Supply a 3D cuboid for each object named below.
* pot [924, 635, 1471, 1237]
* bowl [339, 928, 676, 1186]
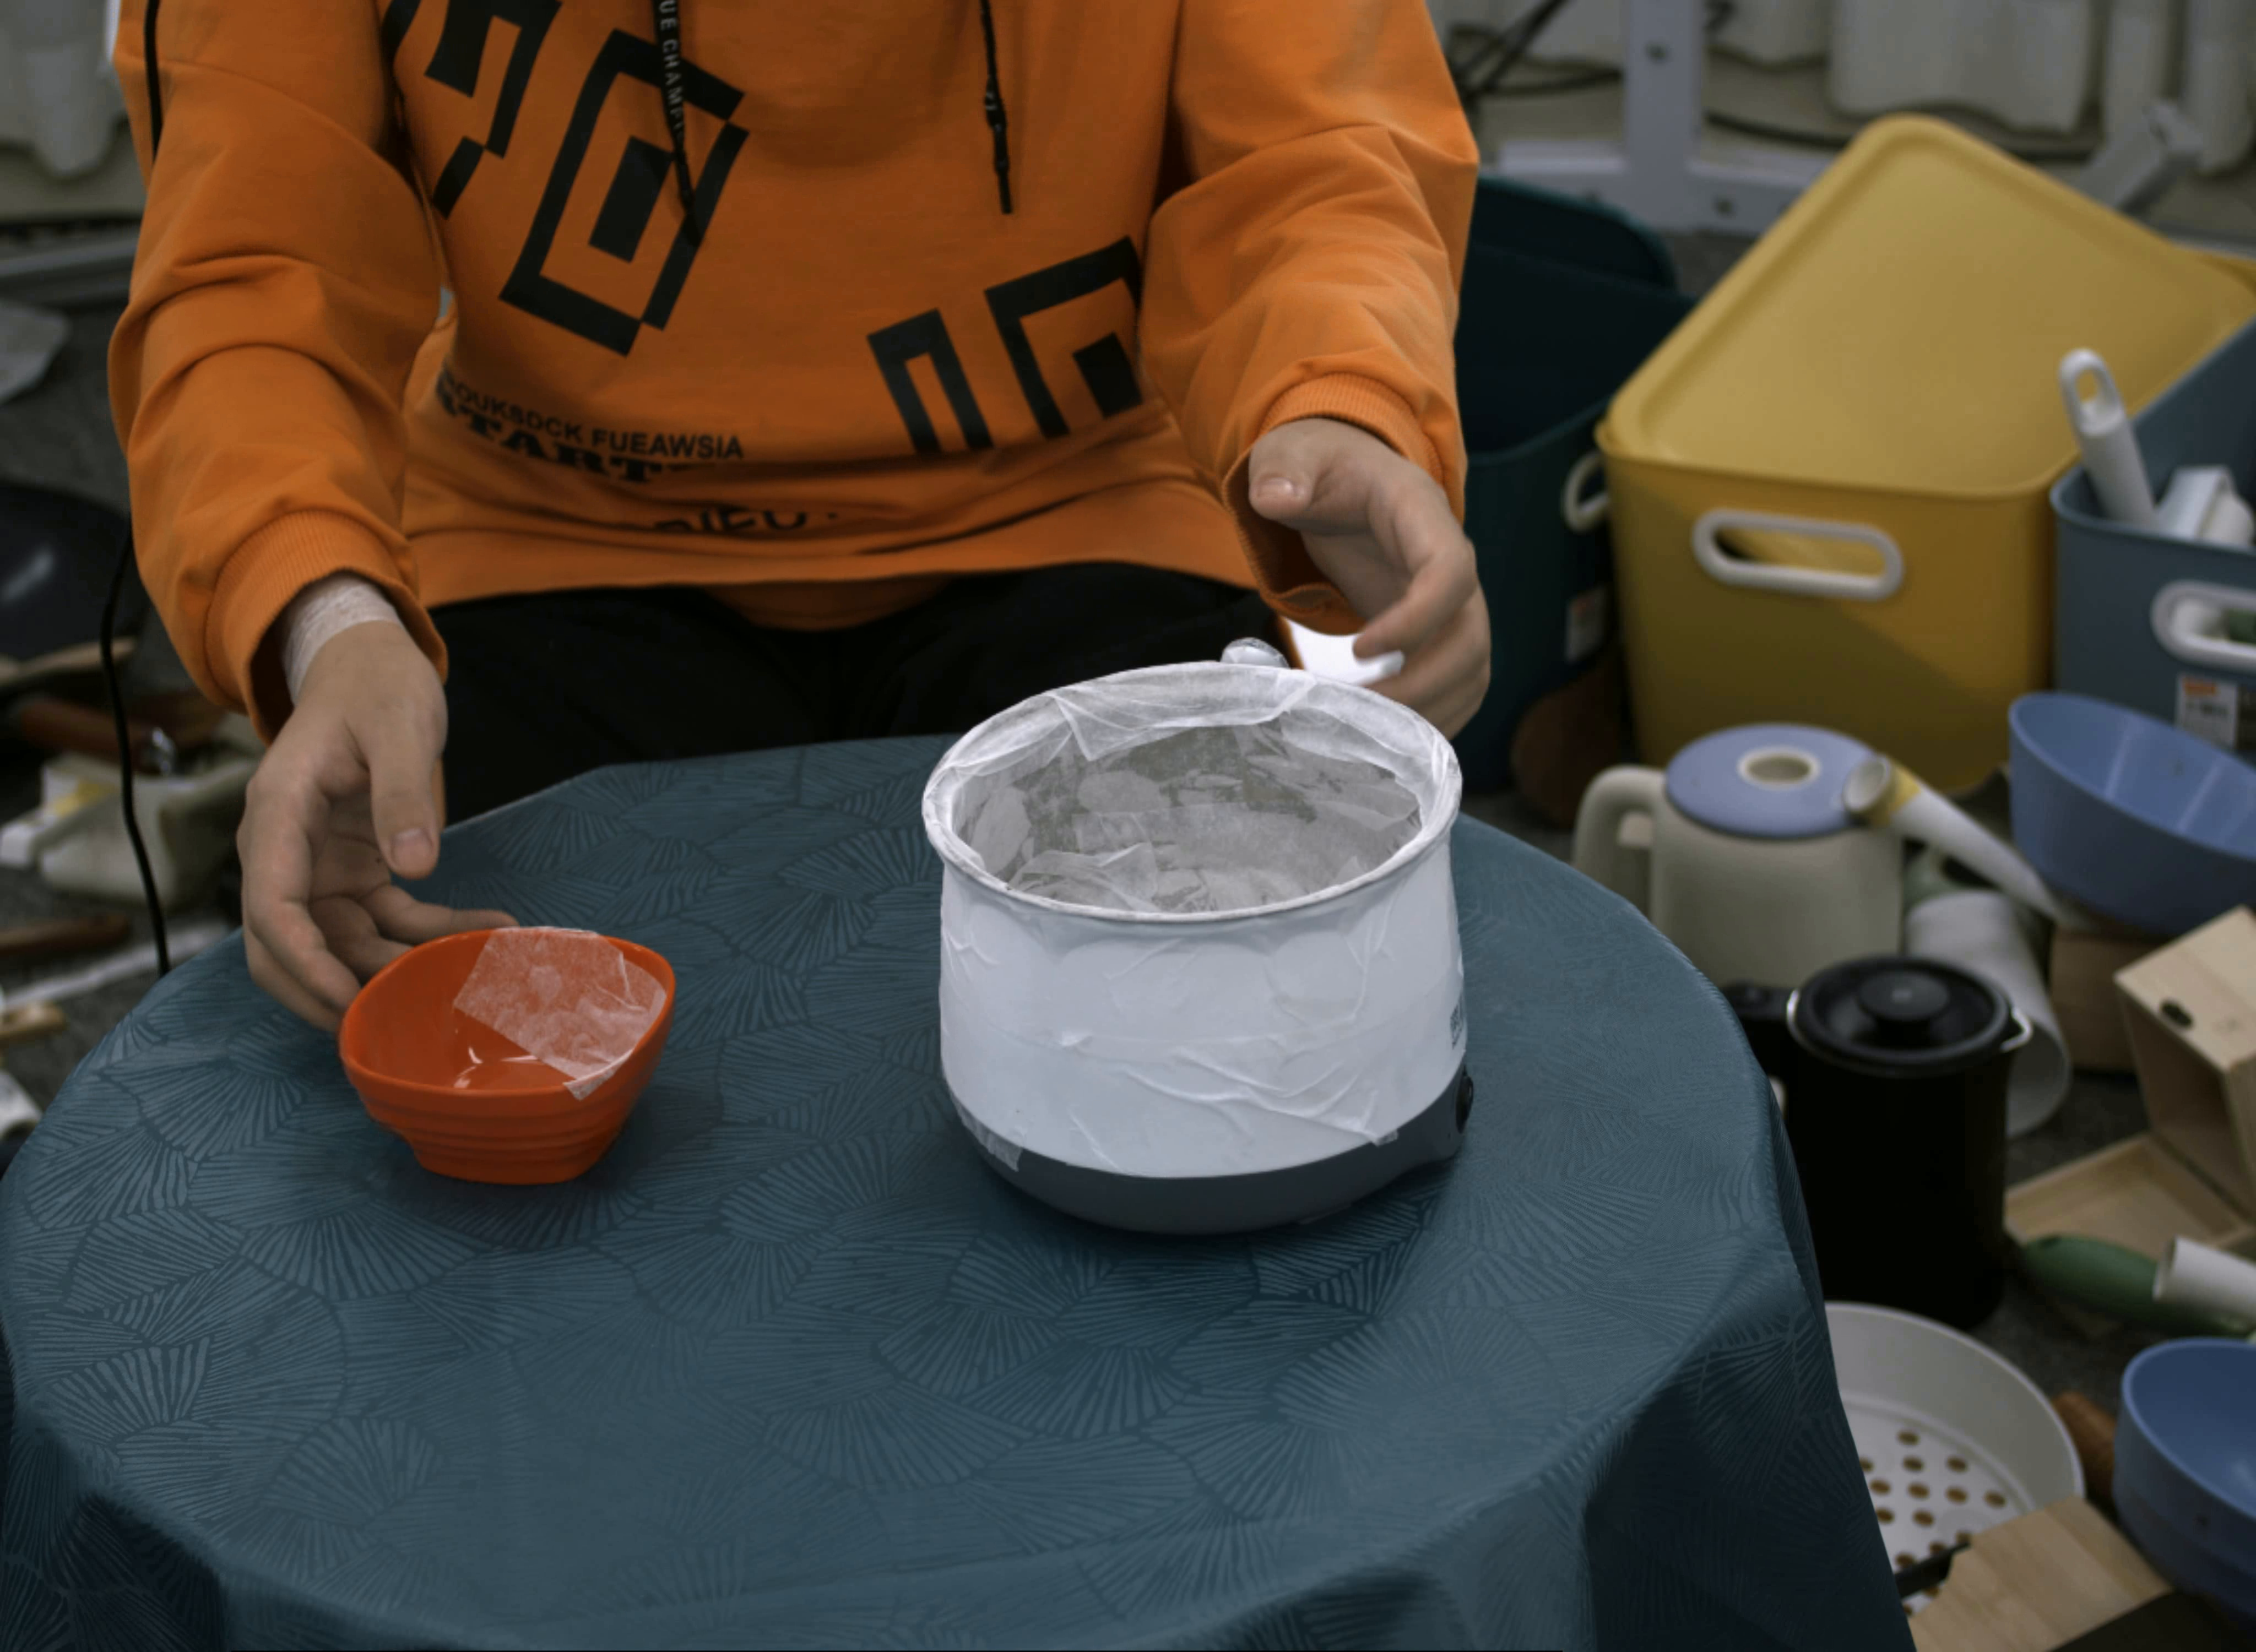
[{"bbox_3d":[0.029,0.029,1.889,0.177,0.135,0.238,3,28,10],"label":"pot"},{"bbox_3d":[-0.207,0.083,1.903,0.118,0.051,0.121,-3,28,2],"label":"bowl"}]
